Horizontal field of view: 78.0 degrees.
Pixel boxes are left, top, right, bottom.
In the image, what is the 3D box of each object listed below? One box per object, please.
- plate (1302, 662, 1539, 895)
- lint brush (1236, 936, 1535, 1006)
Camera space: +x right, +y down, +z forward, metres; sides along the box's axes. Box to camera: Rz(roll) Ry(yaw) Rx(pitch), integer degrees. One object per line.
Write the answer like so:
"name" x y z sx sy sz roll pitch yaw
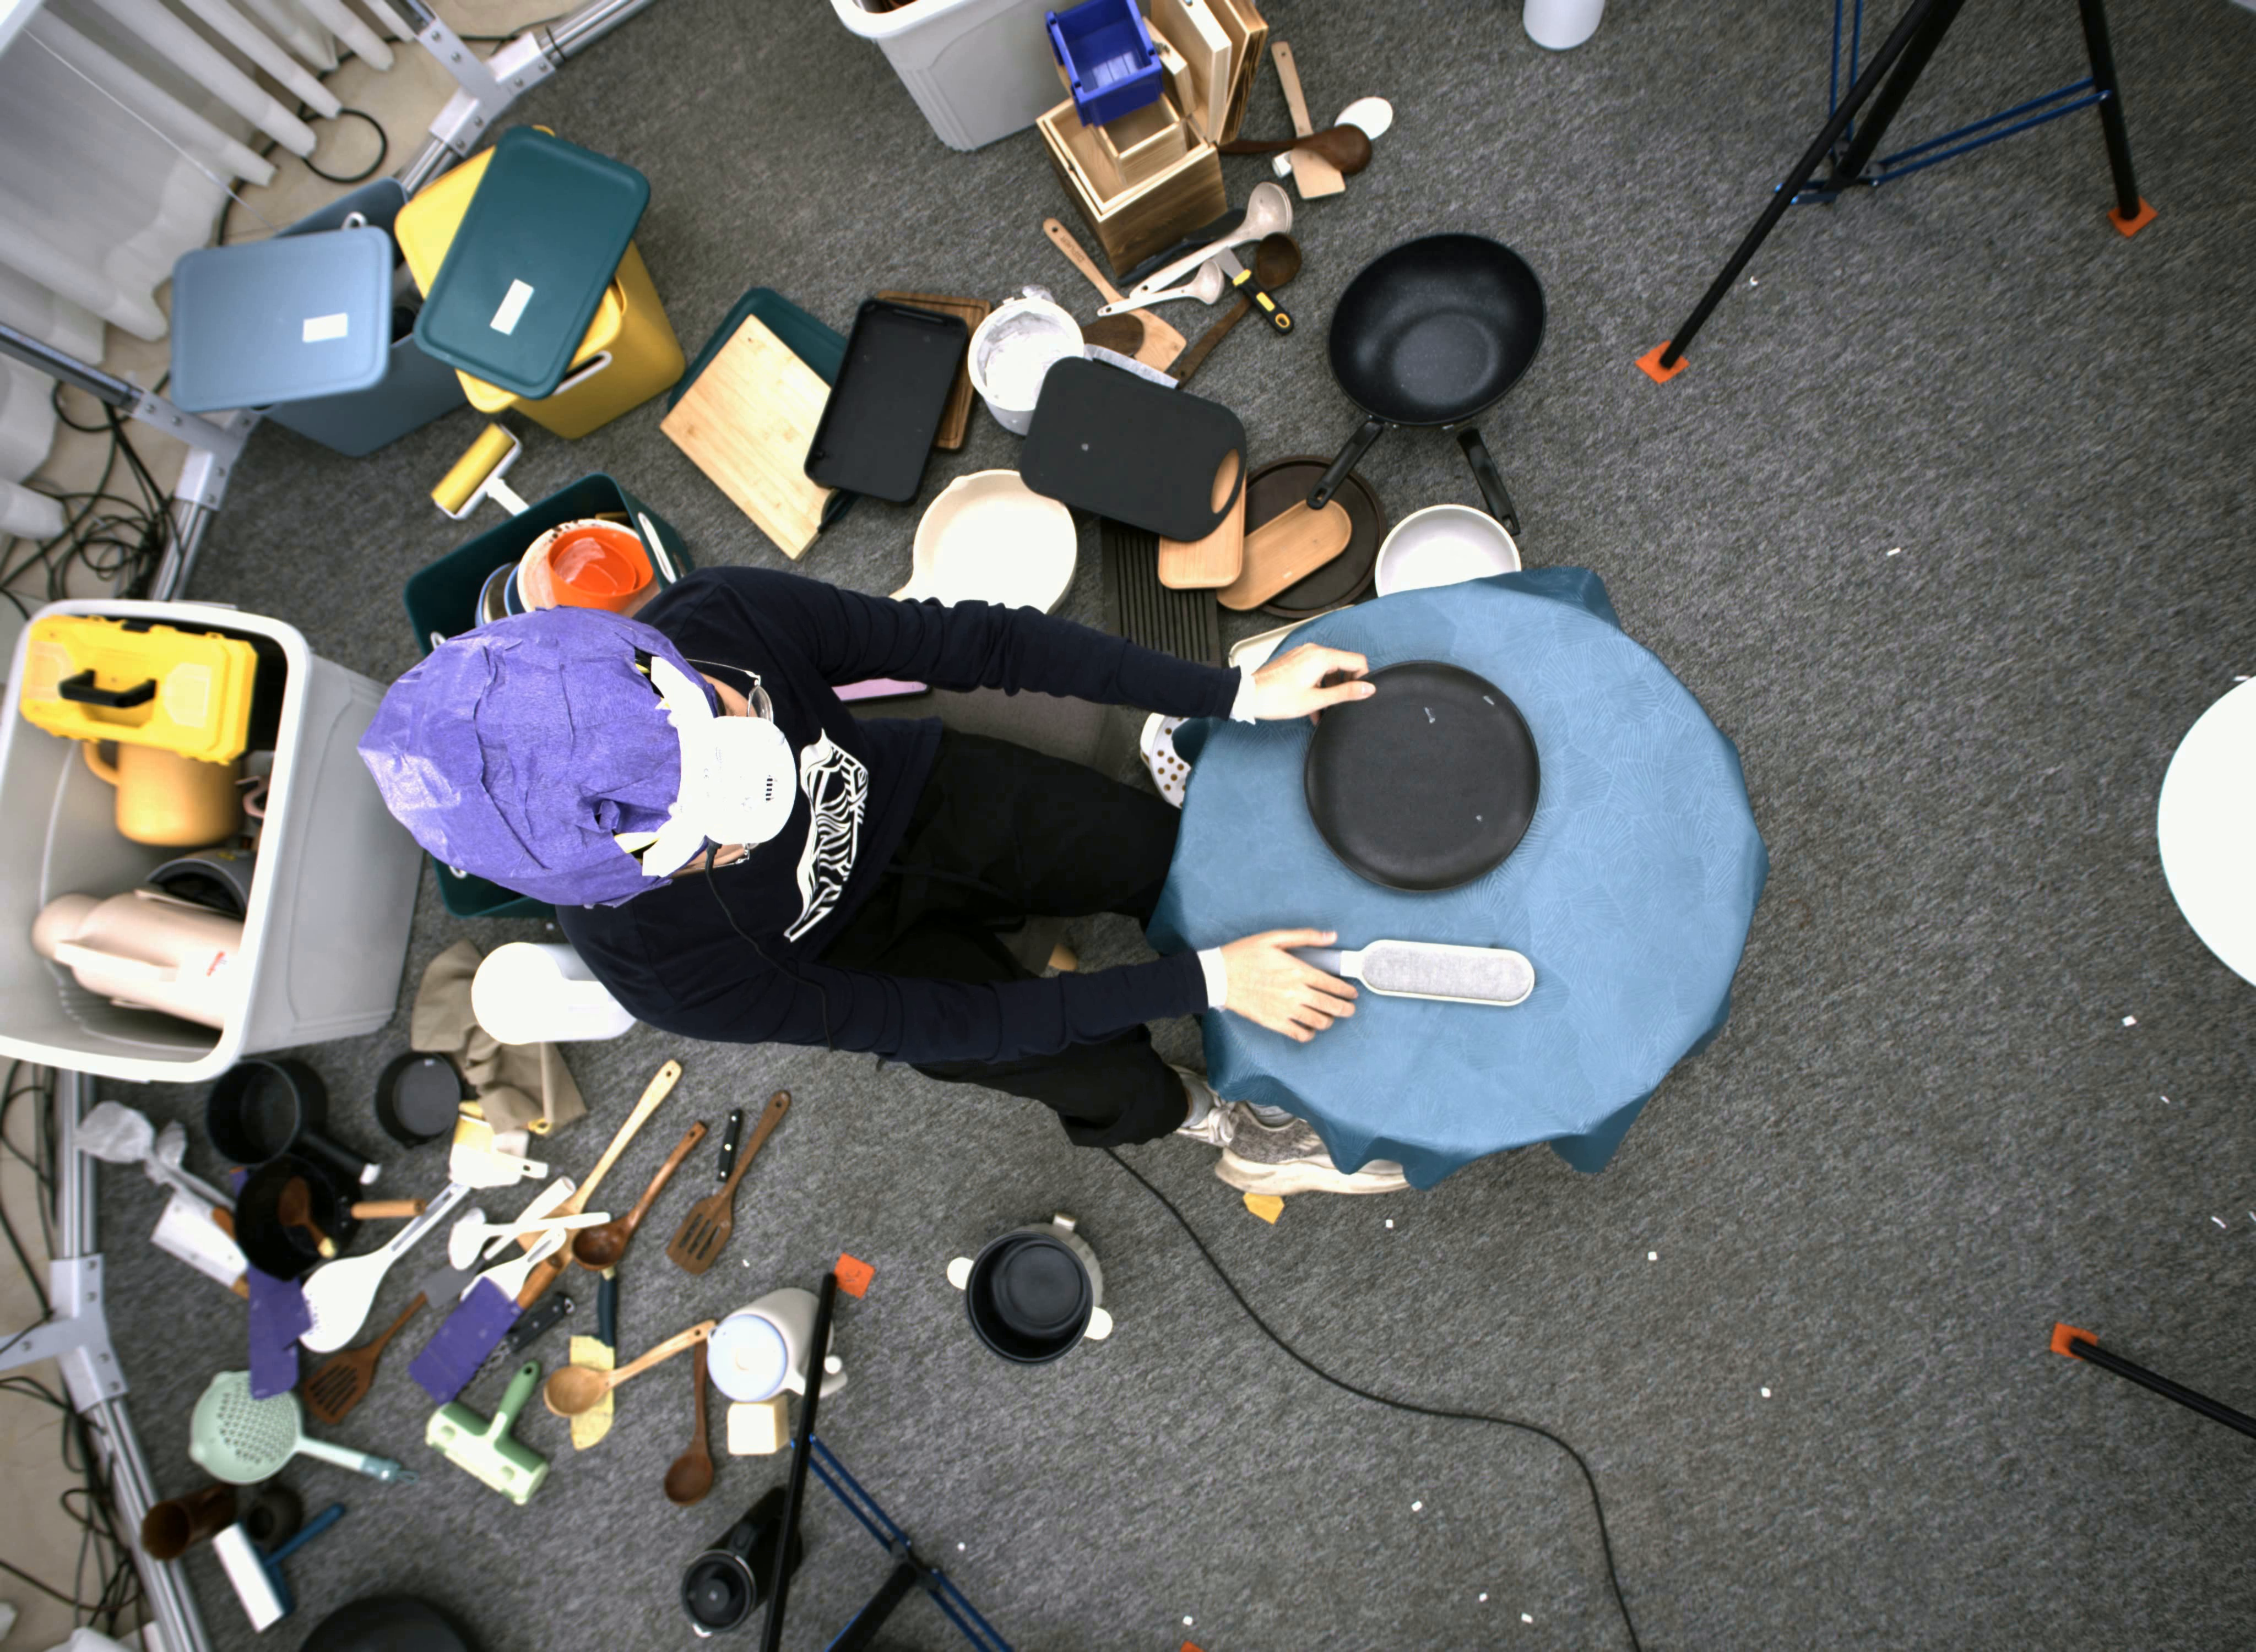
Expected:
"plate" 0.305 -0.051 1.439 0.245 0.023 0.244 0 93 8
"lint brush" 0.267 0.144 1.443 0.310 0.021 0.060 5 93 11
